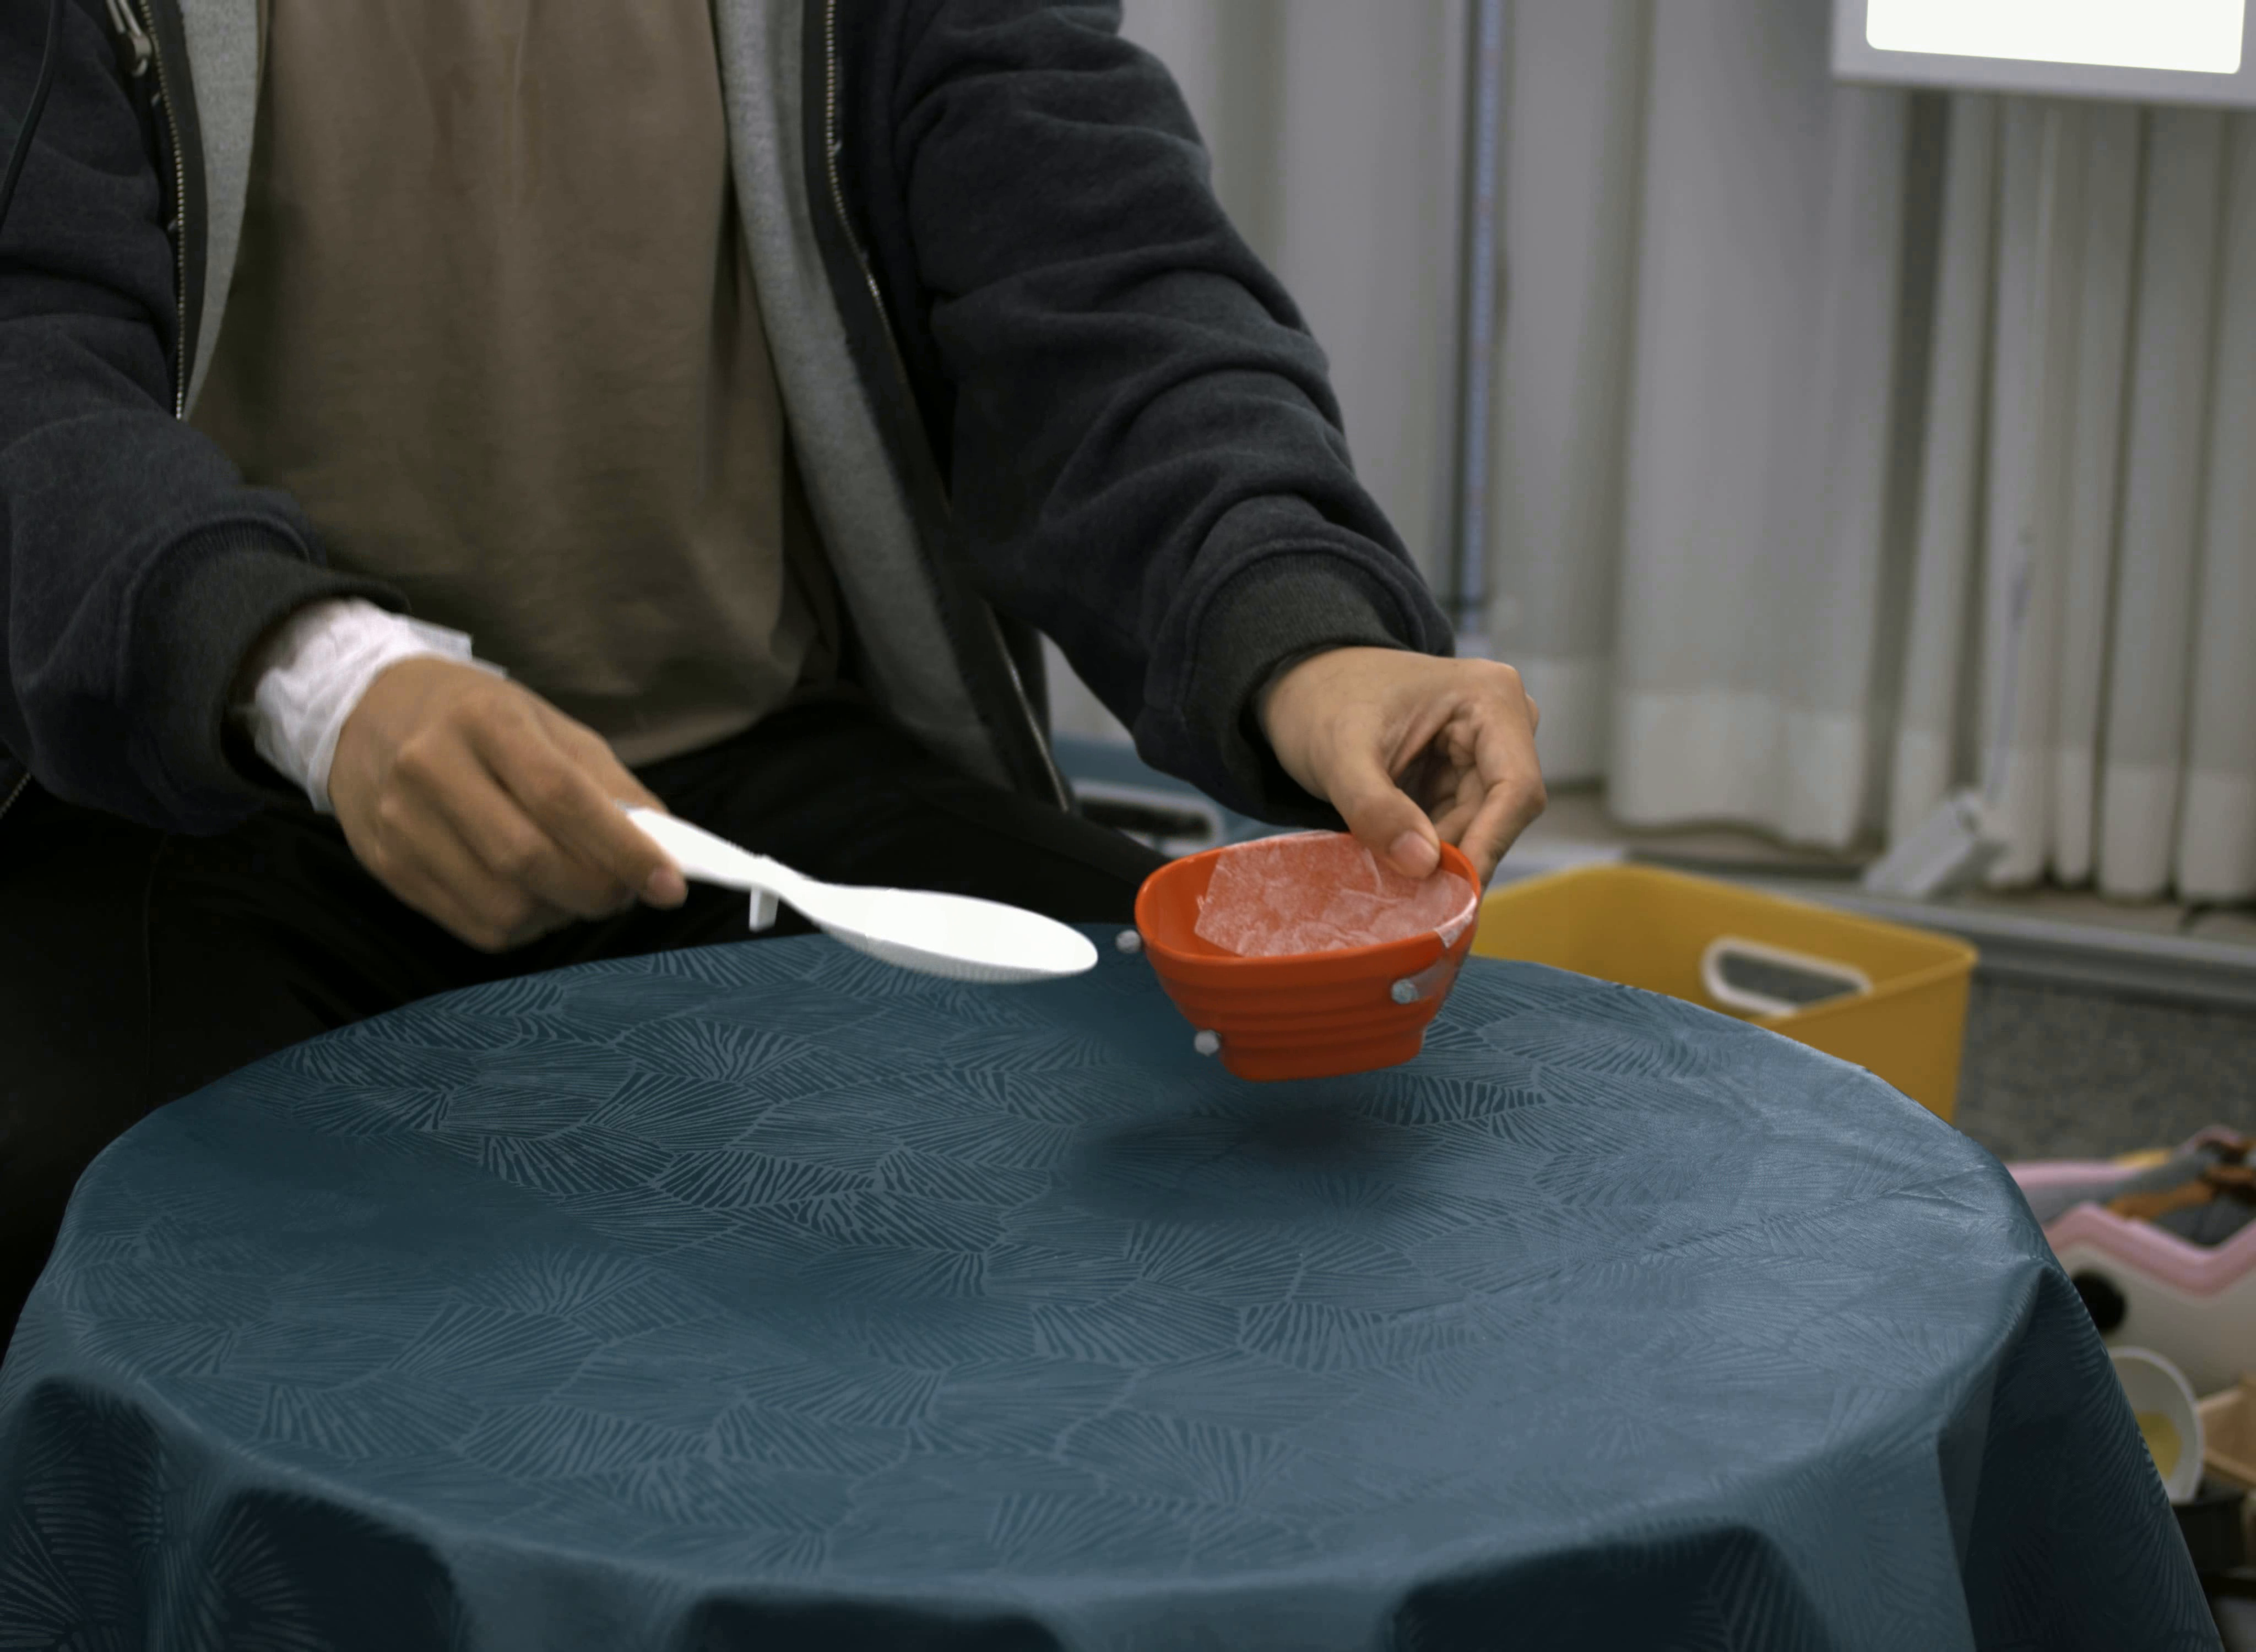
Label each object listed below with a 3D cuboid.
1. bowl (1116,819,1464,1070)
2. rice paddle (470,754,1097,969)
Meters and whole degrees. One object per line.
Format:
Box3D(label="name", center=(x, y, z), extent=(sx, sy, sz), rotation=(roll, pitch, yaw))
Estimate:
Box3D(label="bowl", center=(0.054, 0.040, 1.668), extent=(0.118, 0.052, 0.118), rotation=(-6, 19, 3))
Box3D(label="rice paddle", center=(-0.103, 0.013, 1.583), extent=(0.203, 0.029, 0.069), rotation=(13, 15, 21))
